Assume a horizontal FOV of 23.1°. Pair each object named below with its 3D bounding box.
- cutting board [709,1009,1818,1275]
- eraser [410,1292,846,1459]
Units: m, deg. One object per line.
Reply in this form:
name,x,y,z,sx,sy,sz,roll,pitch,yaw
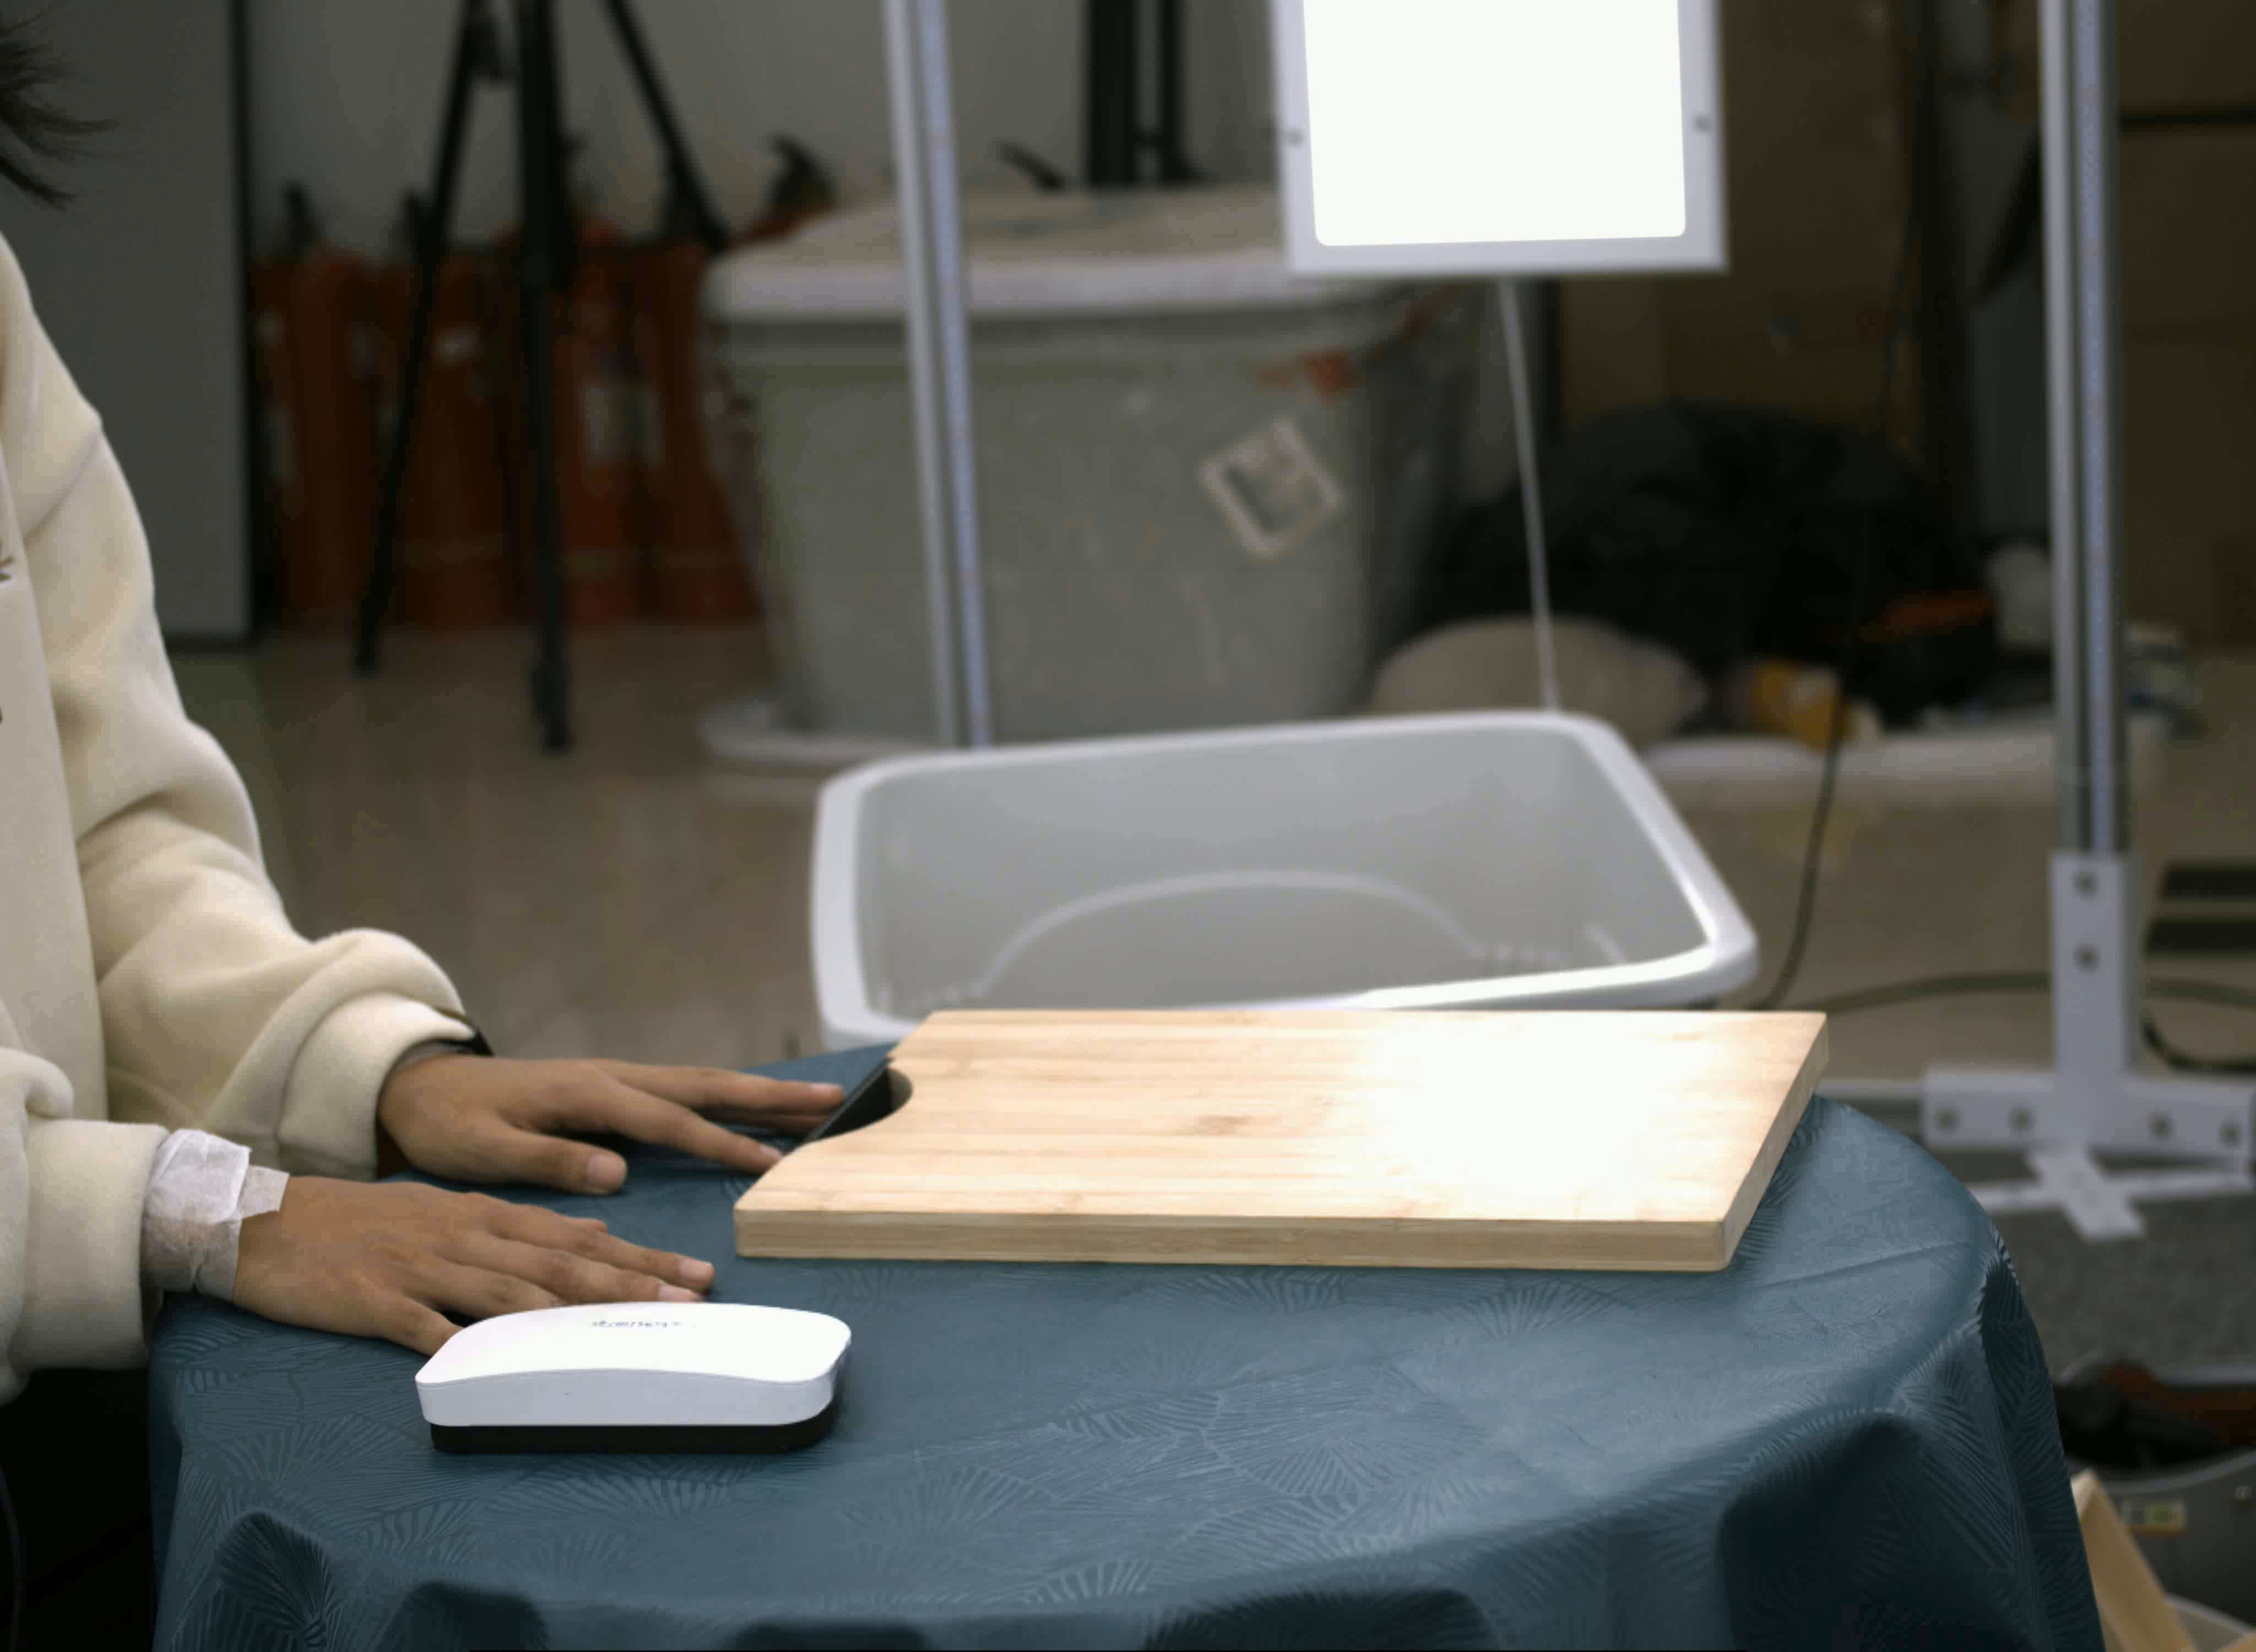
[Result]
cutting board,0.054,0.107,1.923,0.352,0.023,0.247,-1,14,17
eraser,-0.154,0.171,1.711,0.132,0.034,0.062,0,14,15
